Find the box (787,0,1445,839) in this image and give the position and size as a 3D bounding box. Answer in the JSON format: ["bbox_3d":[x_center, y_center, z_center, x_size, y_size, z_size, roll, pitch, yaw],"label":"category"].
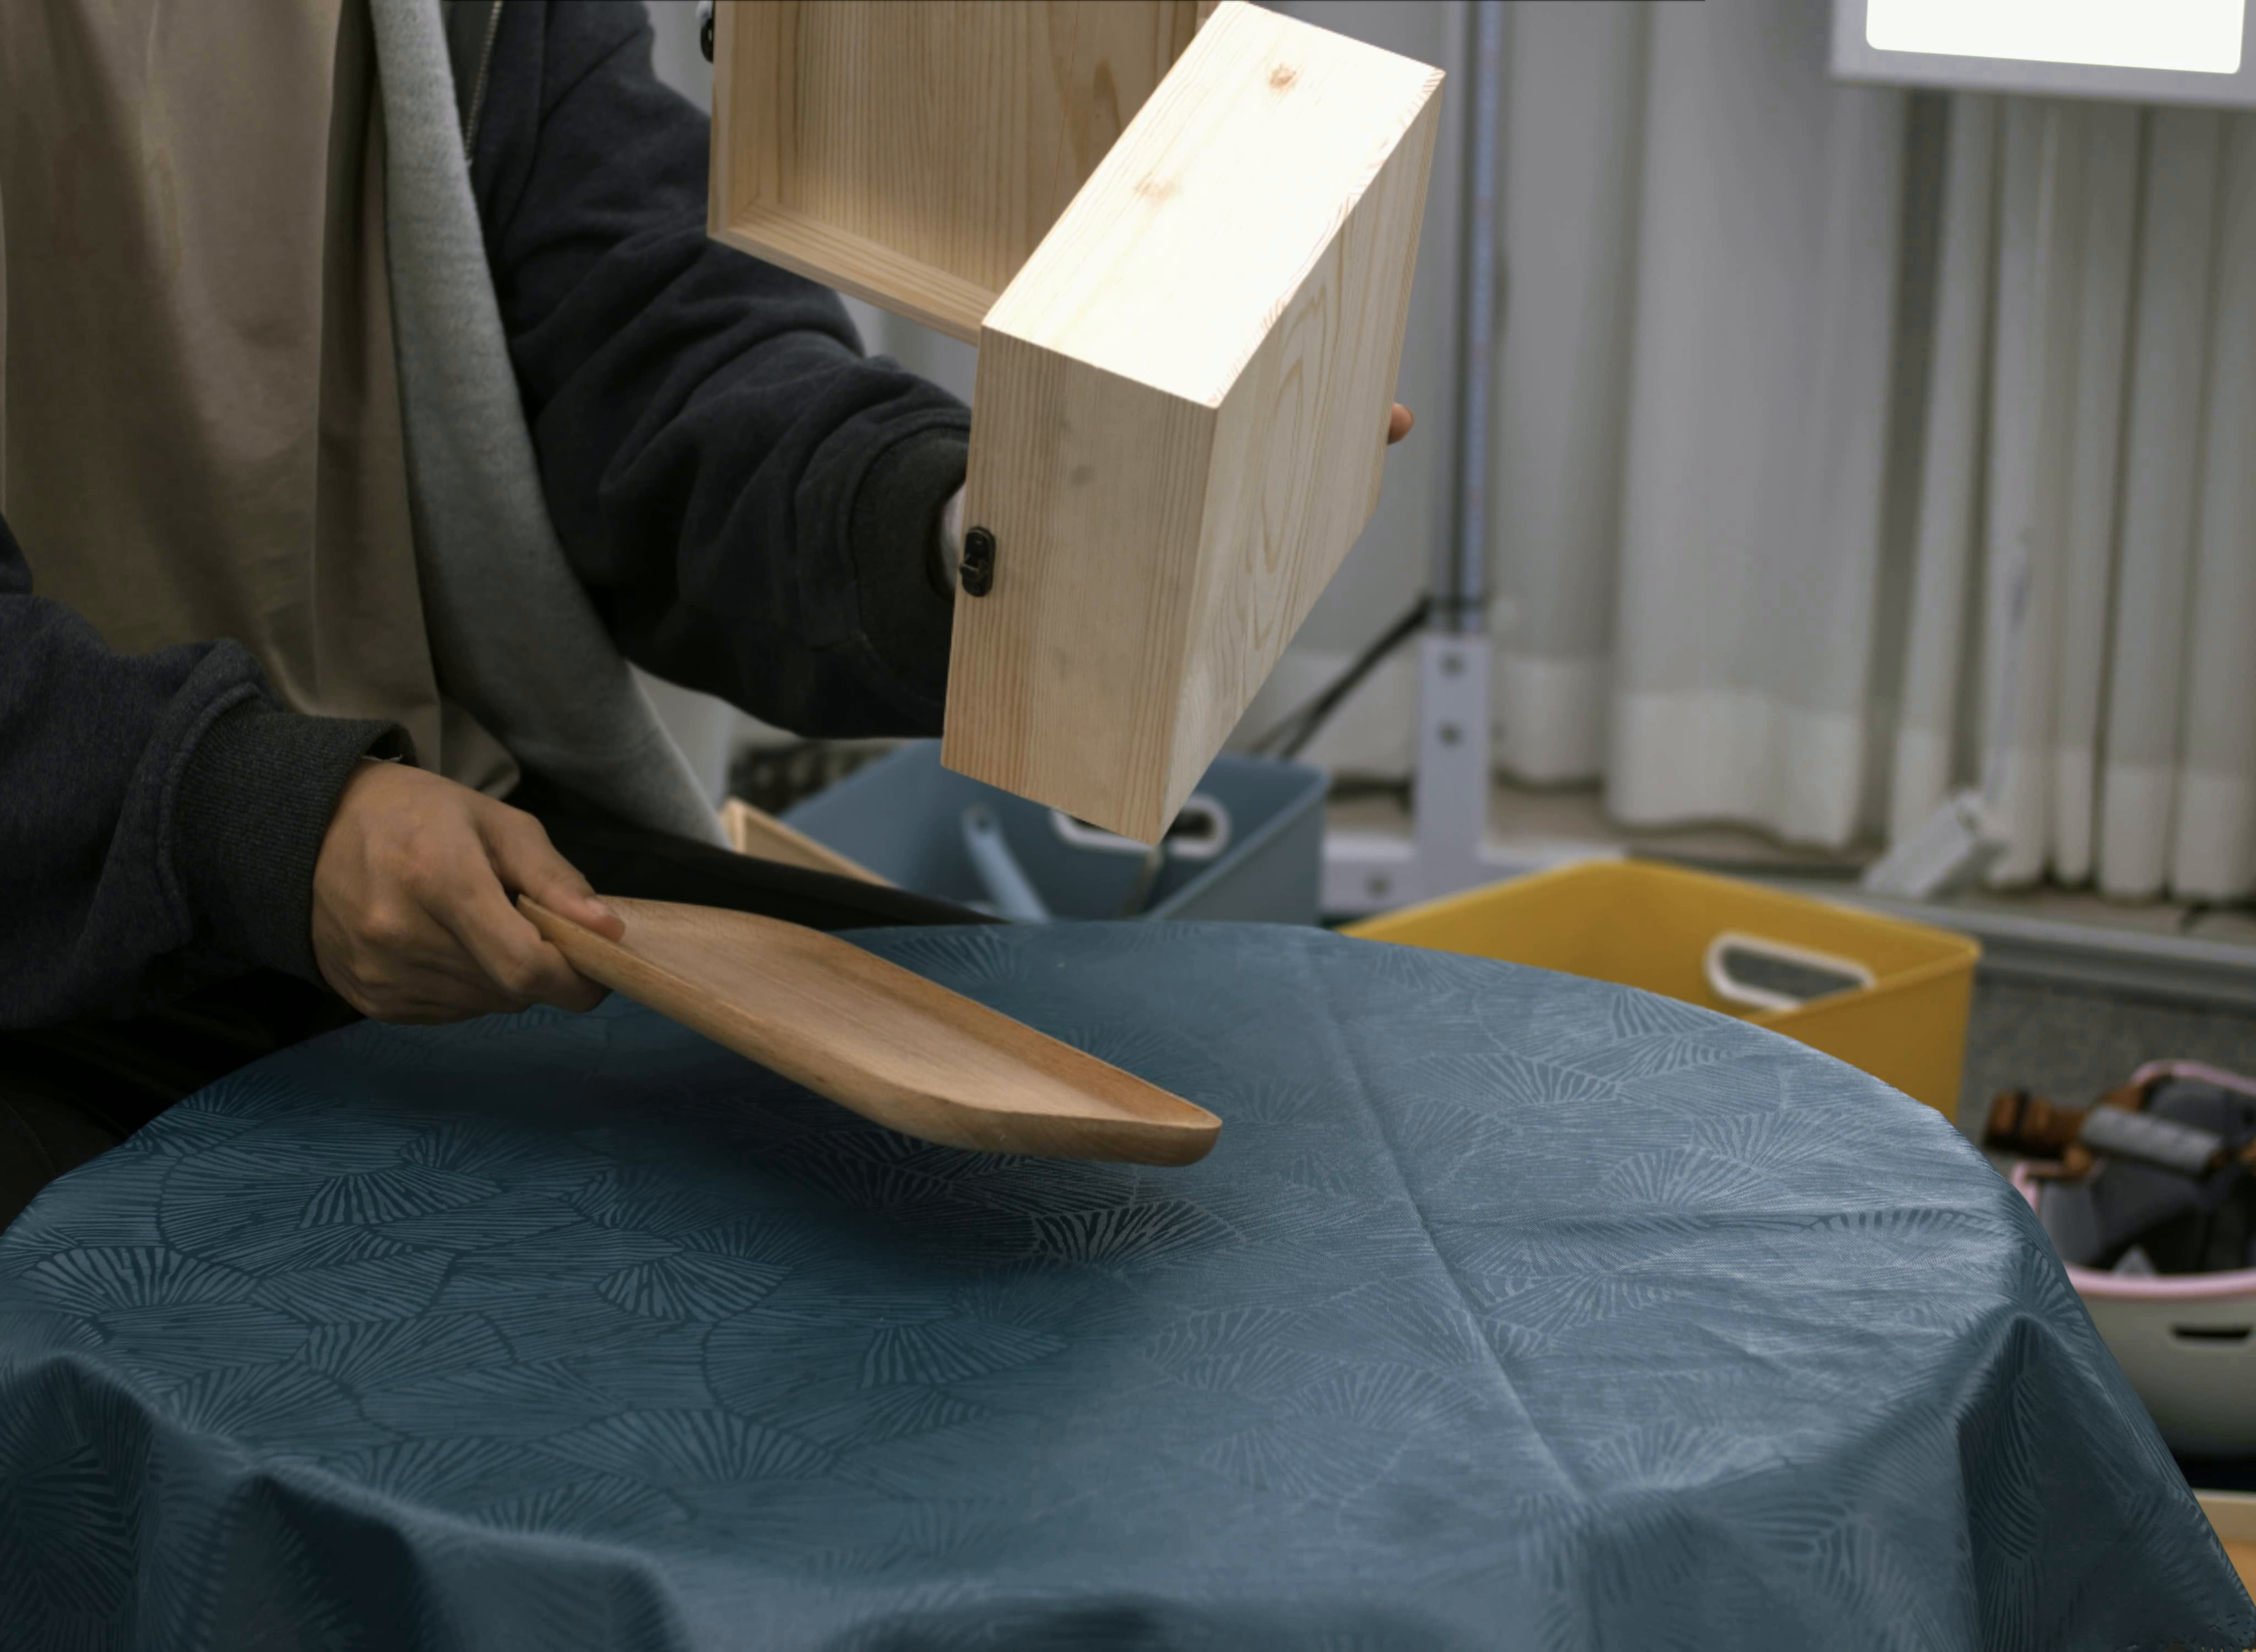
[{"bbox_3d":[-0.042,-0.175,1.656,0.251,0.184,0.264,20,46,15],"label":"box"}]

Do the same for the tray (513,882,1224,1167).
[{"bbox_3d":[-0.085,0.061,1.634,0.132,0.023,0.247,12,7,-40],"label":"tray"}]
